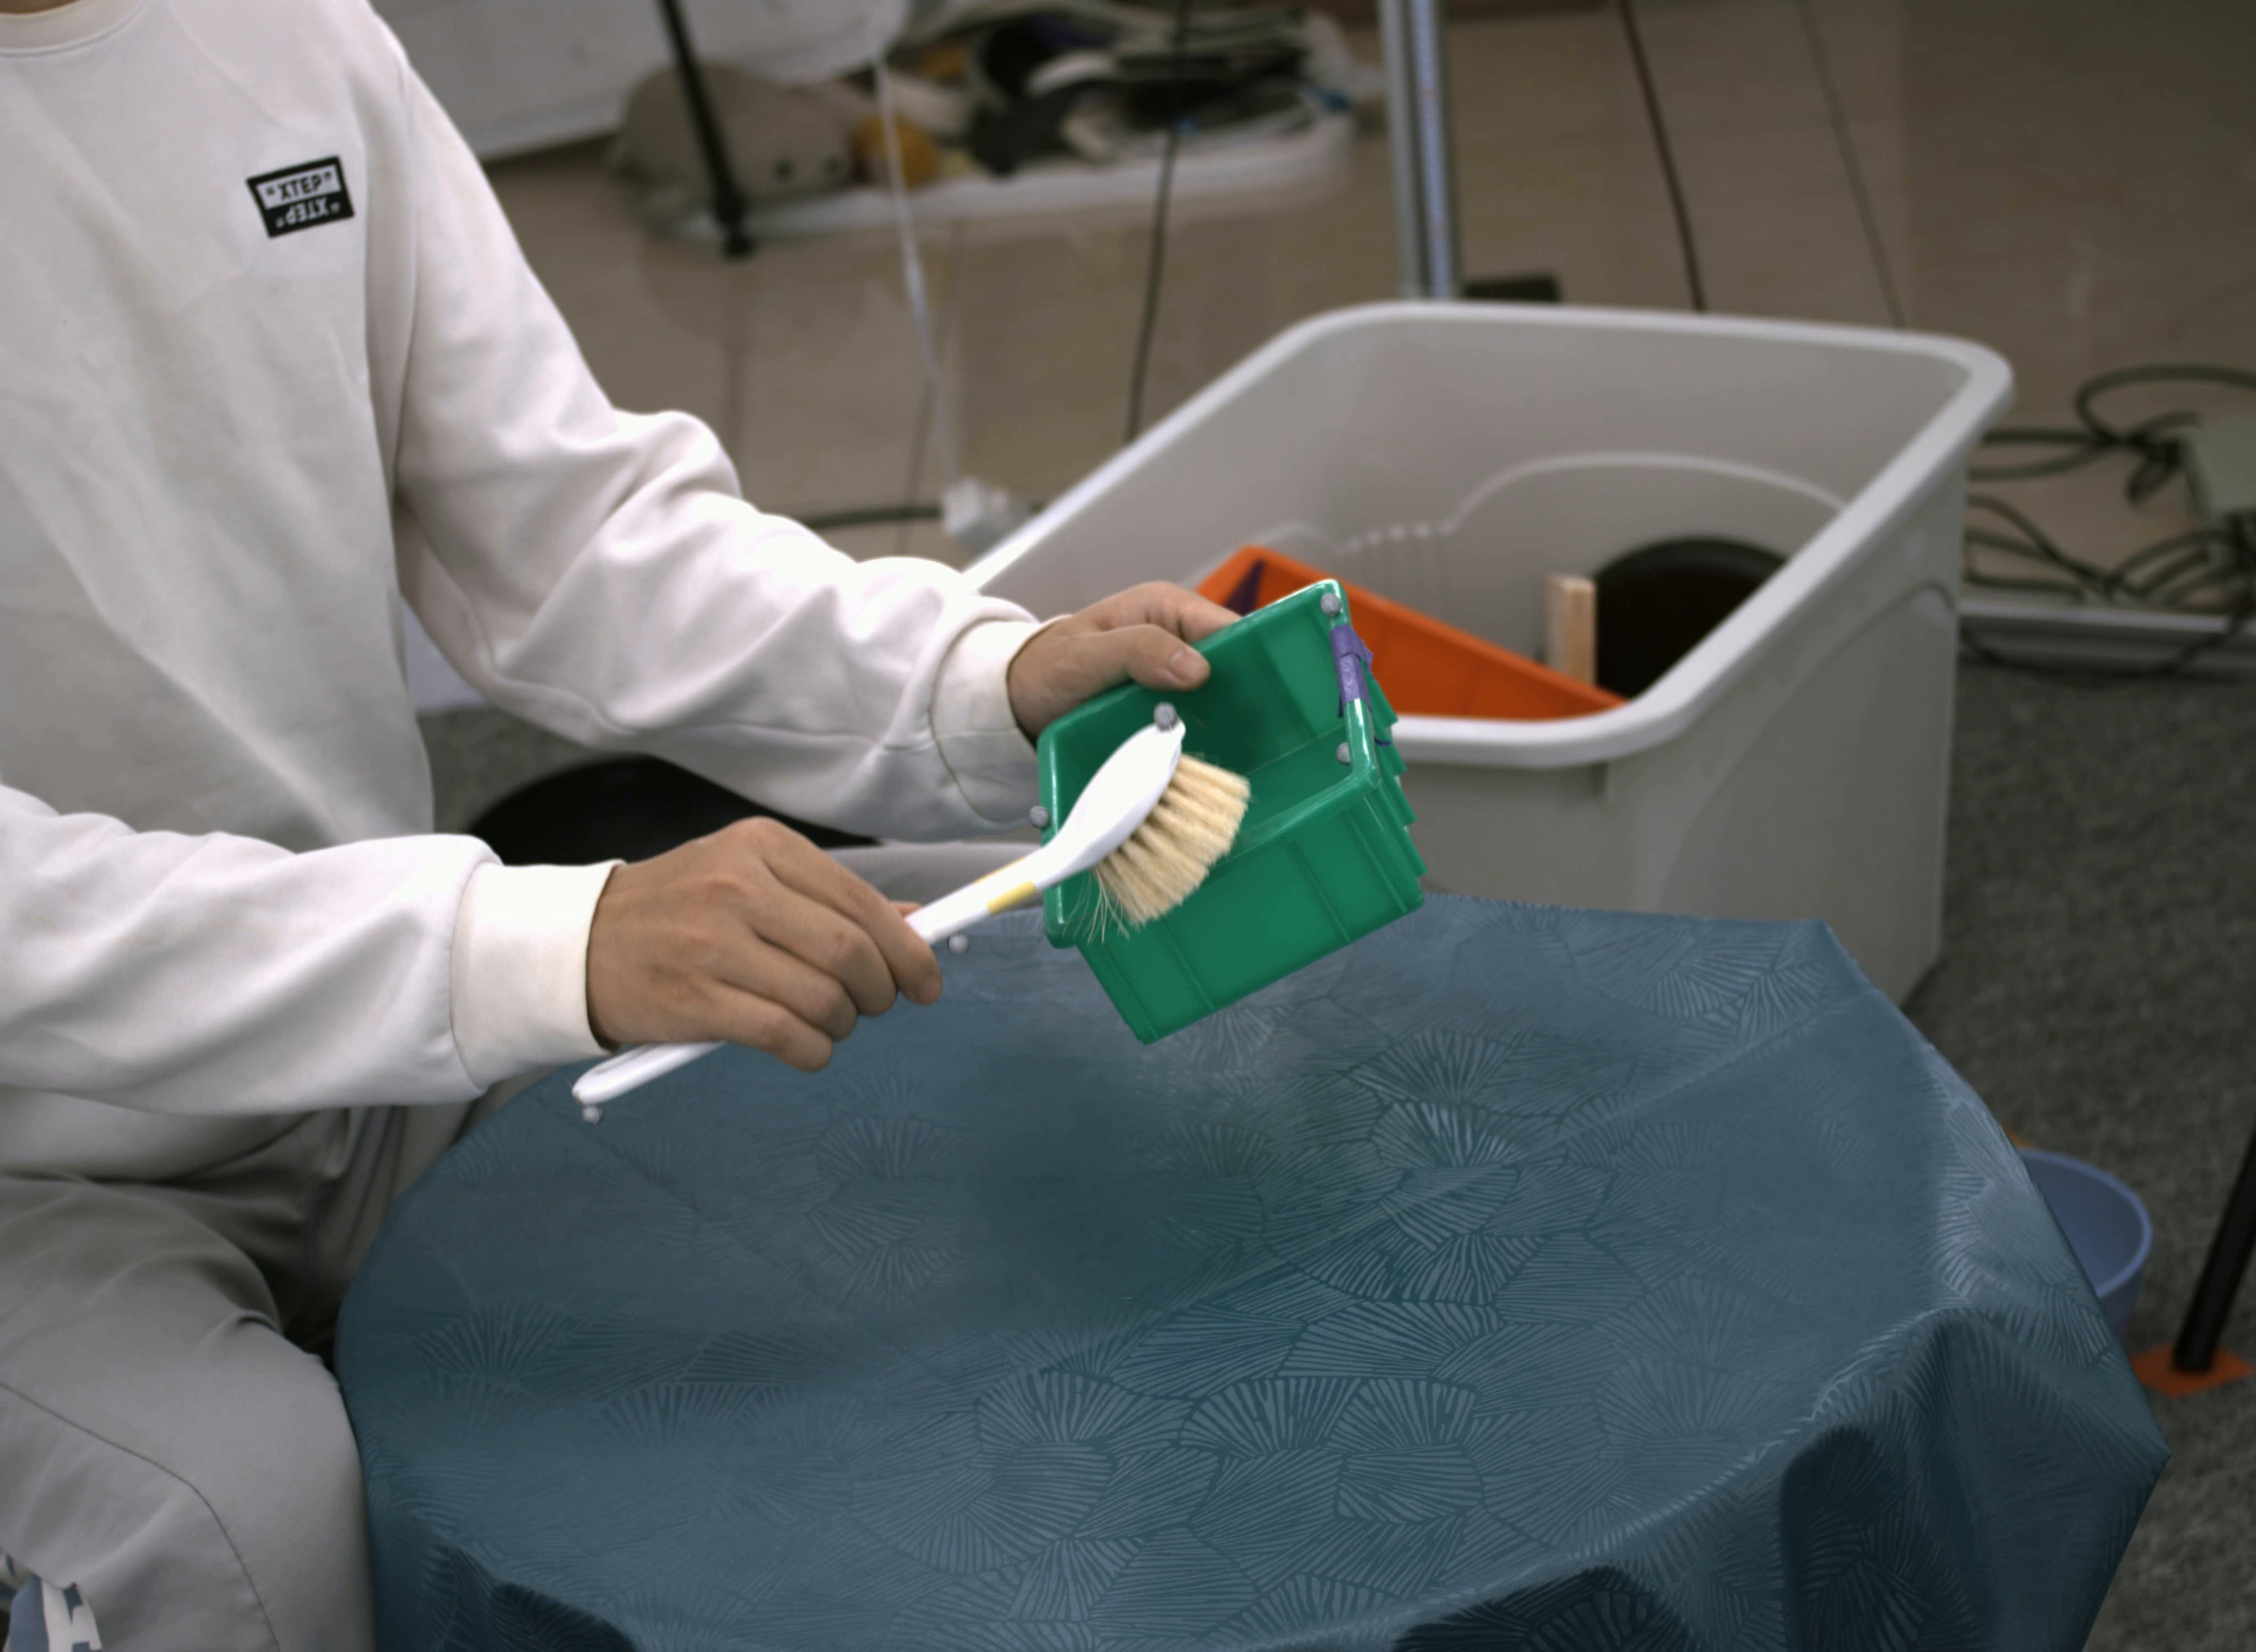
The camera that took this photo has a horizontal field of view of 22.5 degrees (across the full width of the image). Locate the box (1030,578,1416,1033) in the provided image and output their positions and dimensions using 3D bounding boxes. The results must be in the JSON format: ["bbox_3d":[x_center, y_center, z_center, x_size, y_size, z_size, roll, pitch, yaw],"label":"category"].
[{"bbox_3d":[0.038,-0.007,2.155,0.139,0.066,0.207,-27,21,9],"label":"box"}]

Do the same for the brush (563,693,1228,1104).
[{"bbox_3d":[-0.079,0.043,2.050,0.266,0.056,0.068,-34,13,-3],"label":"brush"}]
